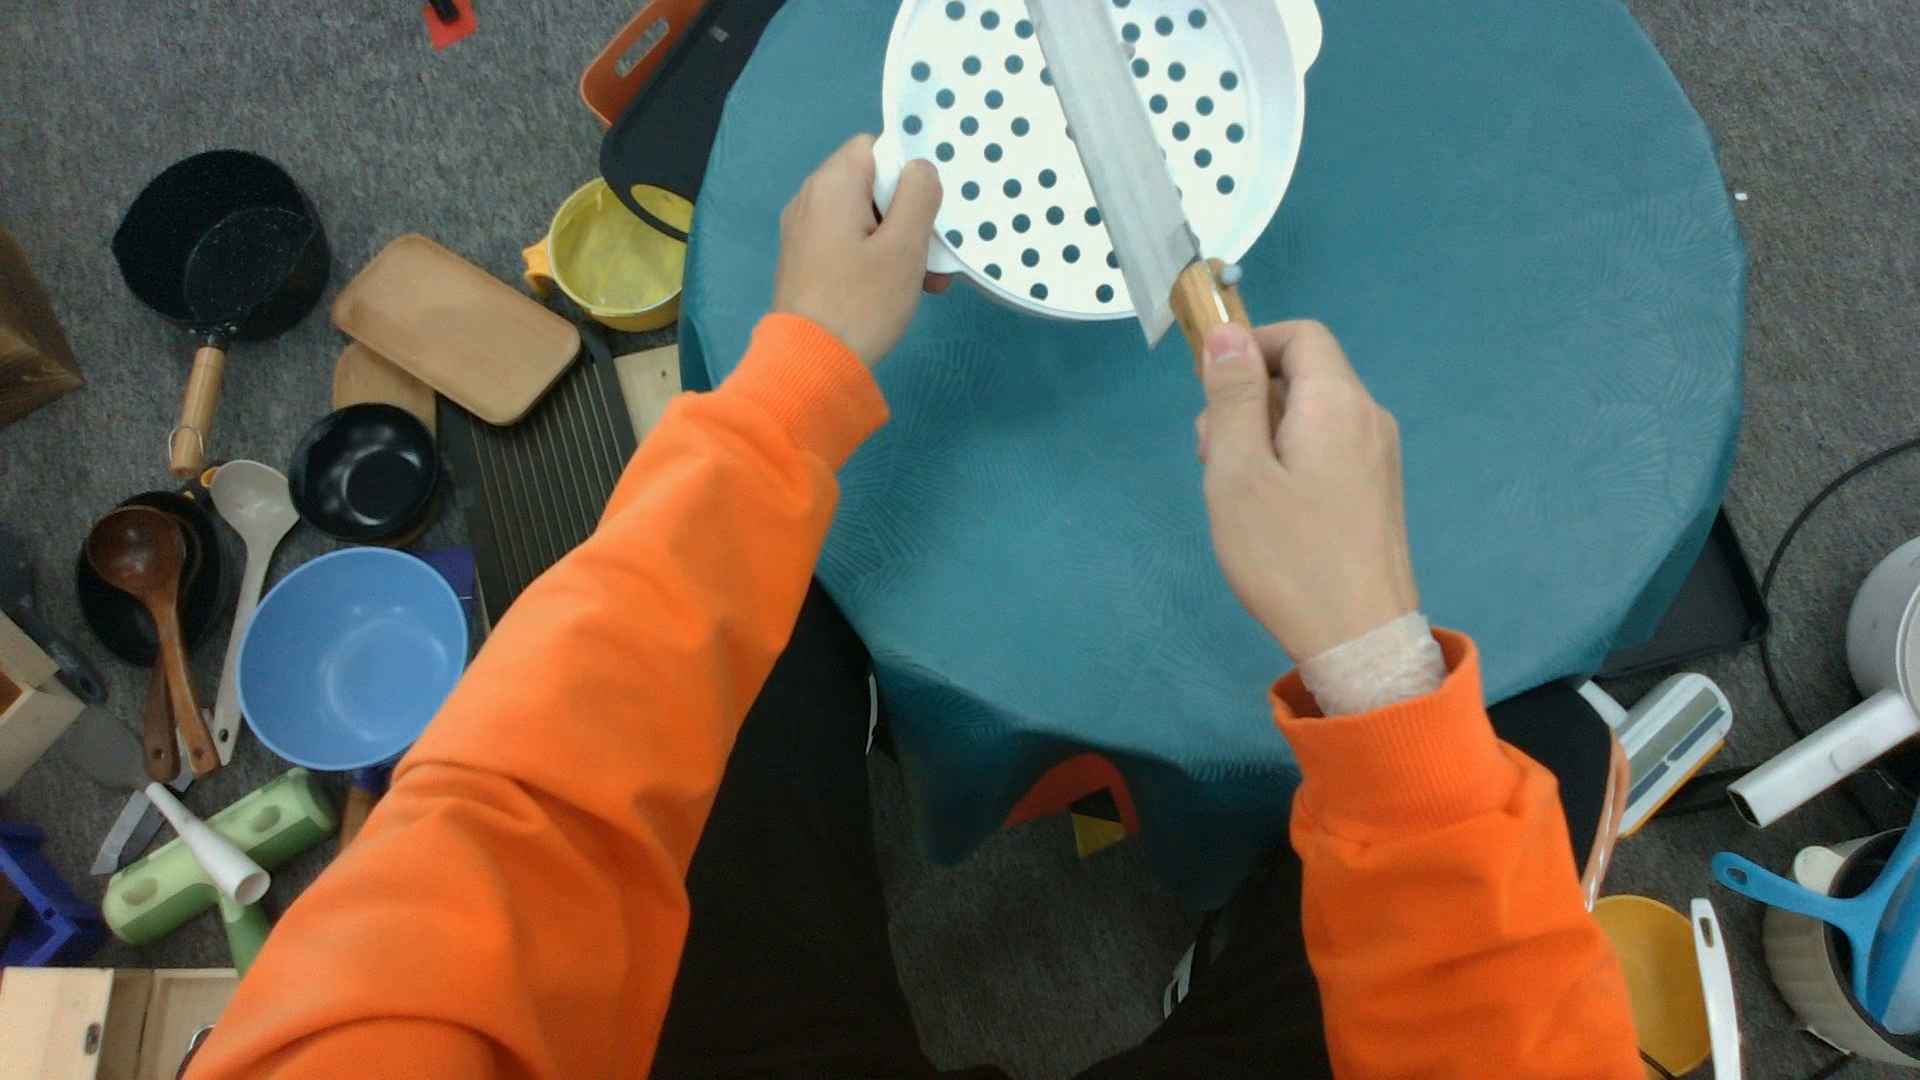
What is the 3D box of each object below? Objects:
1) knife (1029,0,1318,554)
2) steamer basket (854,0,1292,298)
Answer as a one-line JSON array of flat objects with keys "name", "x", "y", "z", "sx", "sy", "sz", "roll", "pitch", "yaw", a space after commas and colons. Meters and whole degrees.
[{"name": "knife", "x": 0.074, "y": -0.136, "z": 0.560, "sx": 0.021, "sy": 0.092, "sz": 0.306, "roll": -17, "pitch": 85, "yaw": -12}, {"name": "steamer basket", "x": 0.053, "y": -0.222, "z": 0.690, "sx": 0.231, "sy": 0.069, "sz": 0.202, "roll": -32, "pitch": 95, "yaw": -6}]
